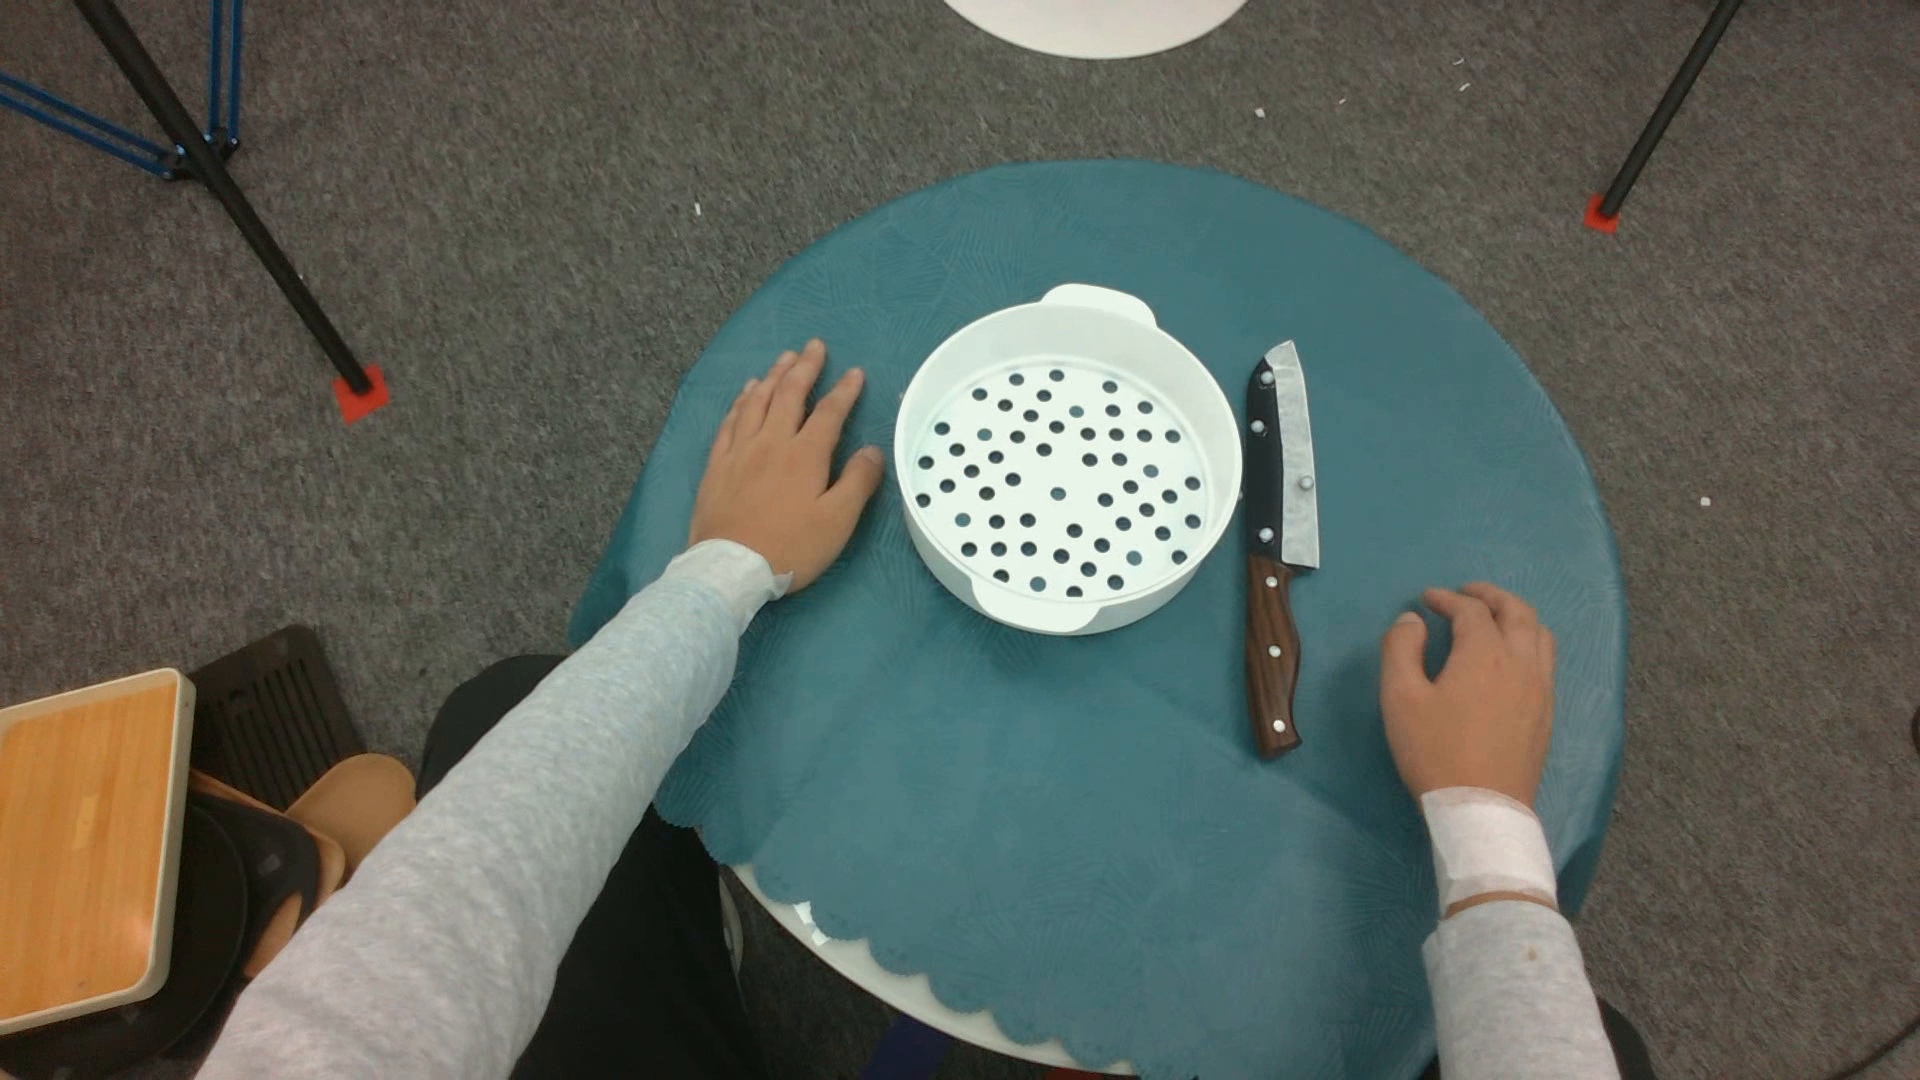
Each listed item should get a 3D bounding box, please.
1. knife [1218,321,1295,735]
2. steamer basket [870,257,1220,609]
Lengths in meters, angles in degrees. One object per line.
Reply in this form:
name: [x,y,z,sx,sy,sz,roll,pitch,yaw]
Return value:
knife: [0.179,-0.018,0.836,0.050,0.020,0.290,9,62,-4]
steamer basket: [0.048,-0.057,0.818,0.202,0.069,0.231,12,65,3]
